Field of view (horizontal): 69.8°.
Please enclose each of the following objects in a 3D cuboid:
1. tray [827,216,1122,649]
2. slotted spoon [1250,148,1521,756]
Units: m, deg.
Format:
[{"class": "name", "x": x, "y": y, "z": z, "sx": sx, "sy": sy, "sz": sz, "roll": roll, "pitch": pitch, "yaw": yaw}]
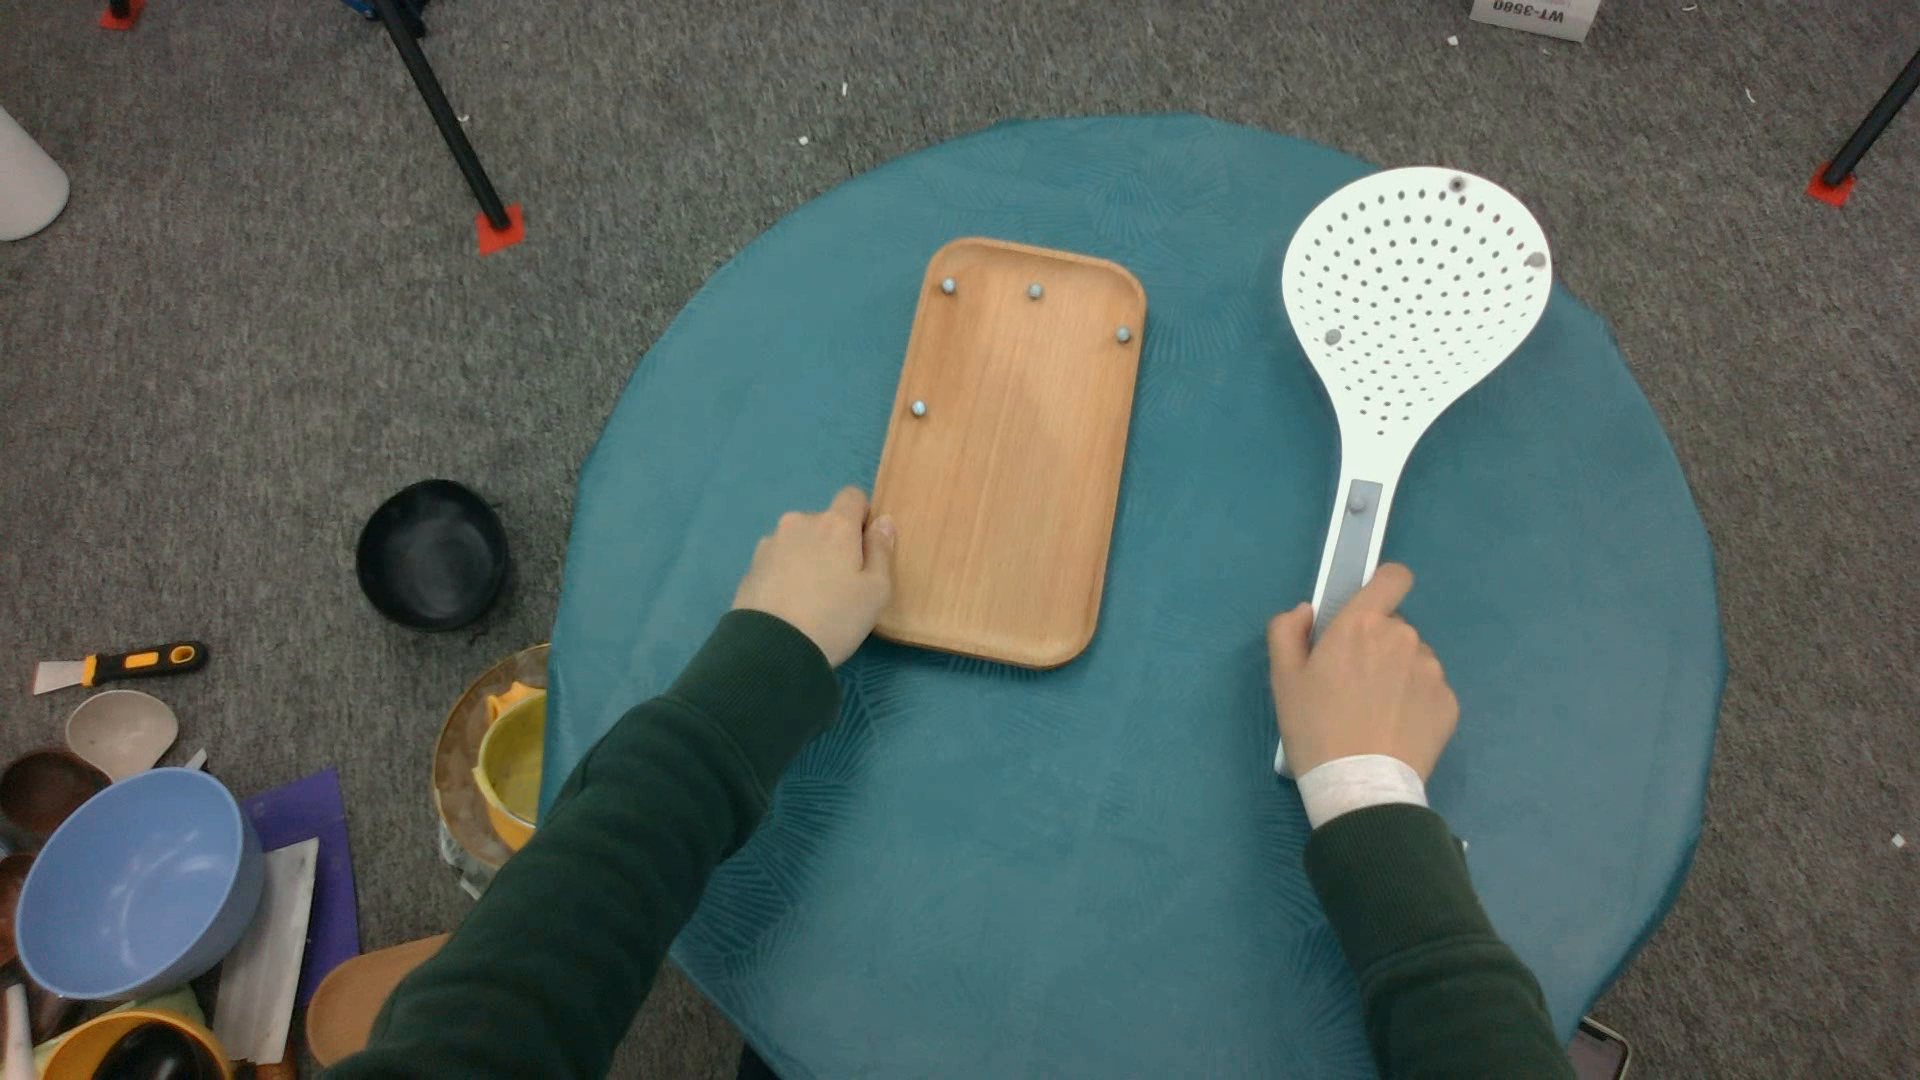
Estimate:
[{"class": "tray", "x": 0.012, "y": -0.064, "z": 0.741, "sx": 0.130, "sy": 0.023, "sz": 0.251, "roll": 10, "pitch": 66, "yaw": 3}, {"class": "slotted spoon", "x": 0.203, "y": -0.056, "z": 0.718, "sx": 0.136, "sy": 0.045, "sz": 0.351, "roll": 11, "pitch": 65, "yaw": 19}]
